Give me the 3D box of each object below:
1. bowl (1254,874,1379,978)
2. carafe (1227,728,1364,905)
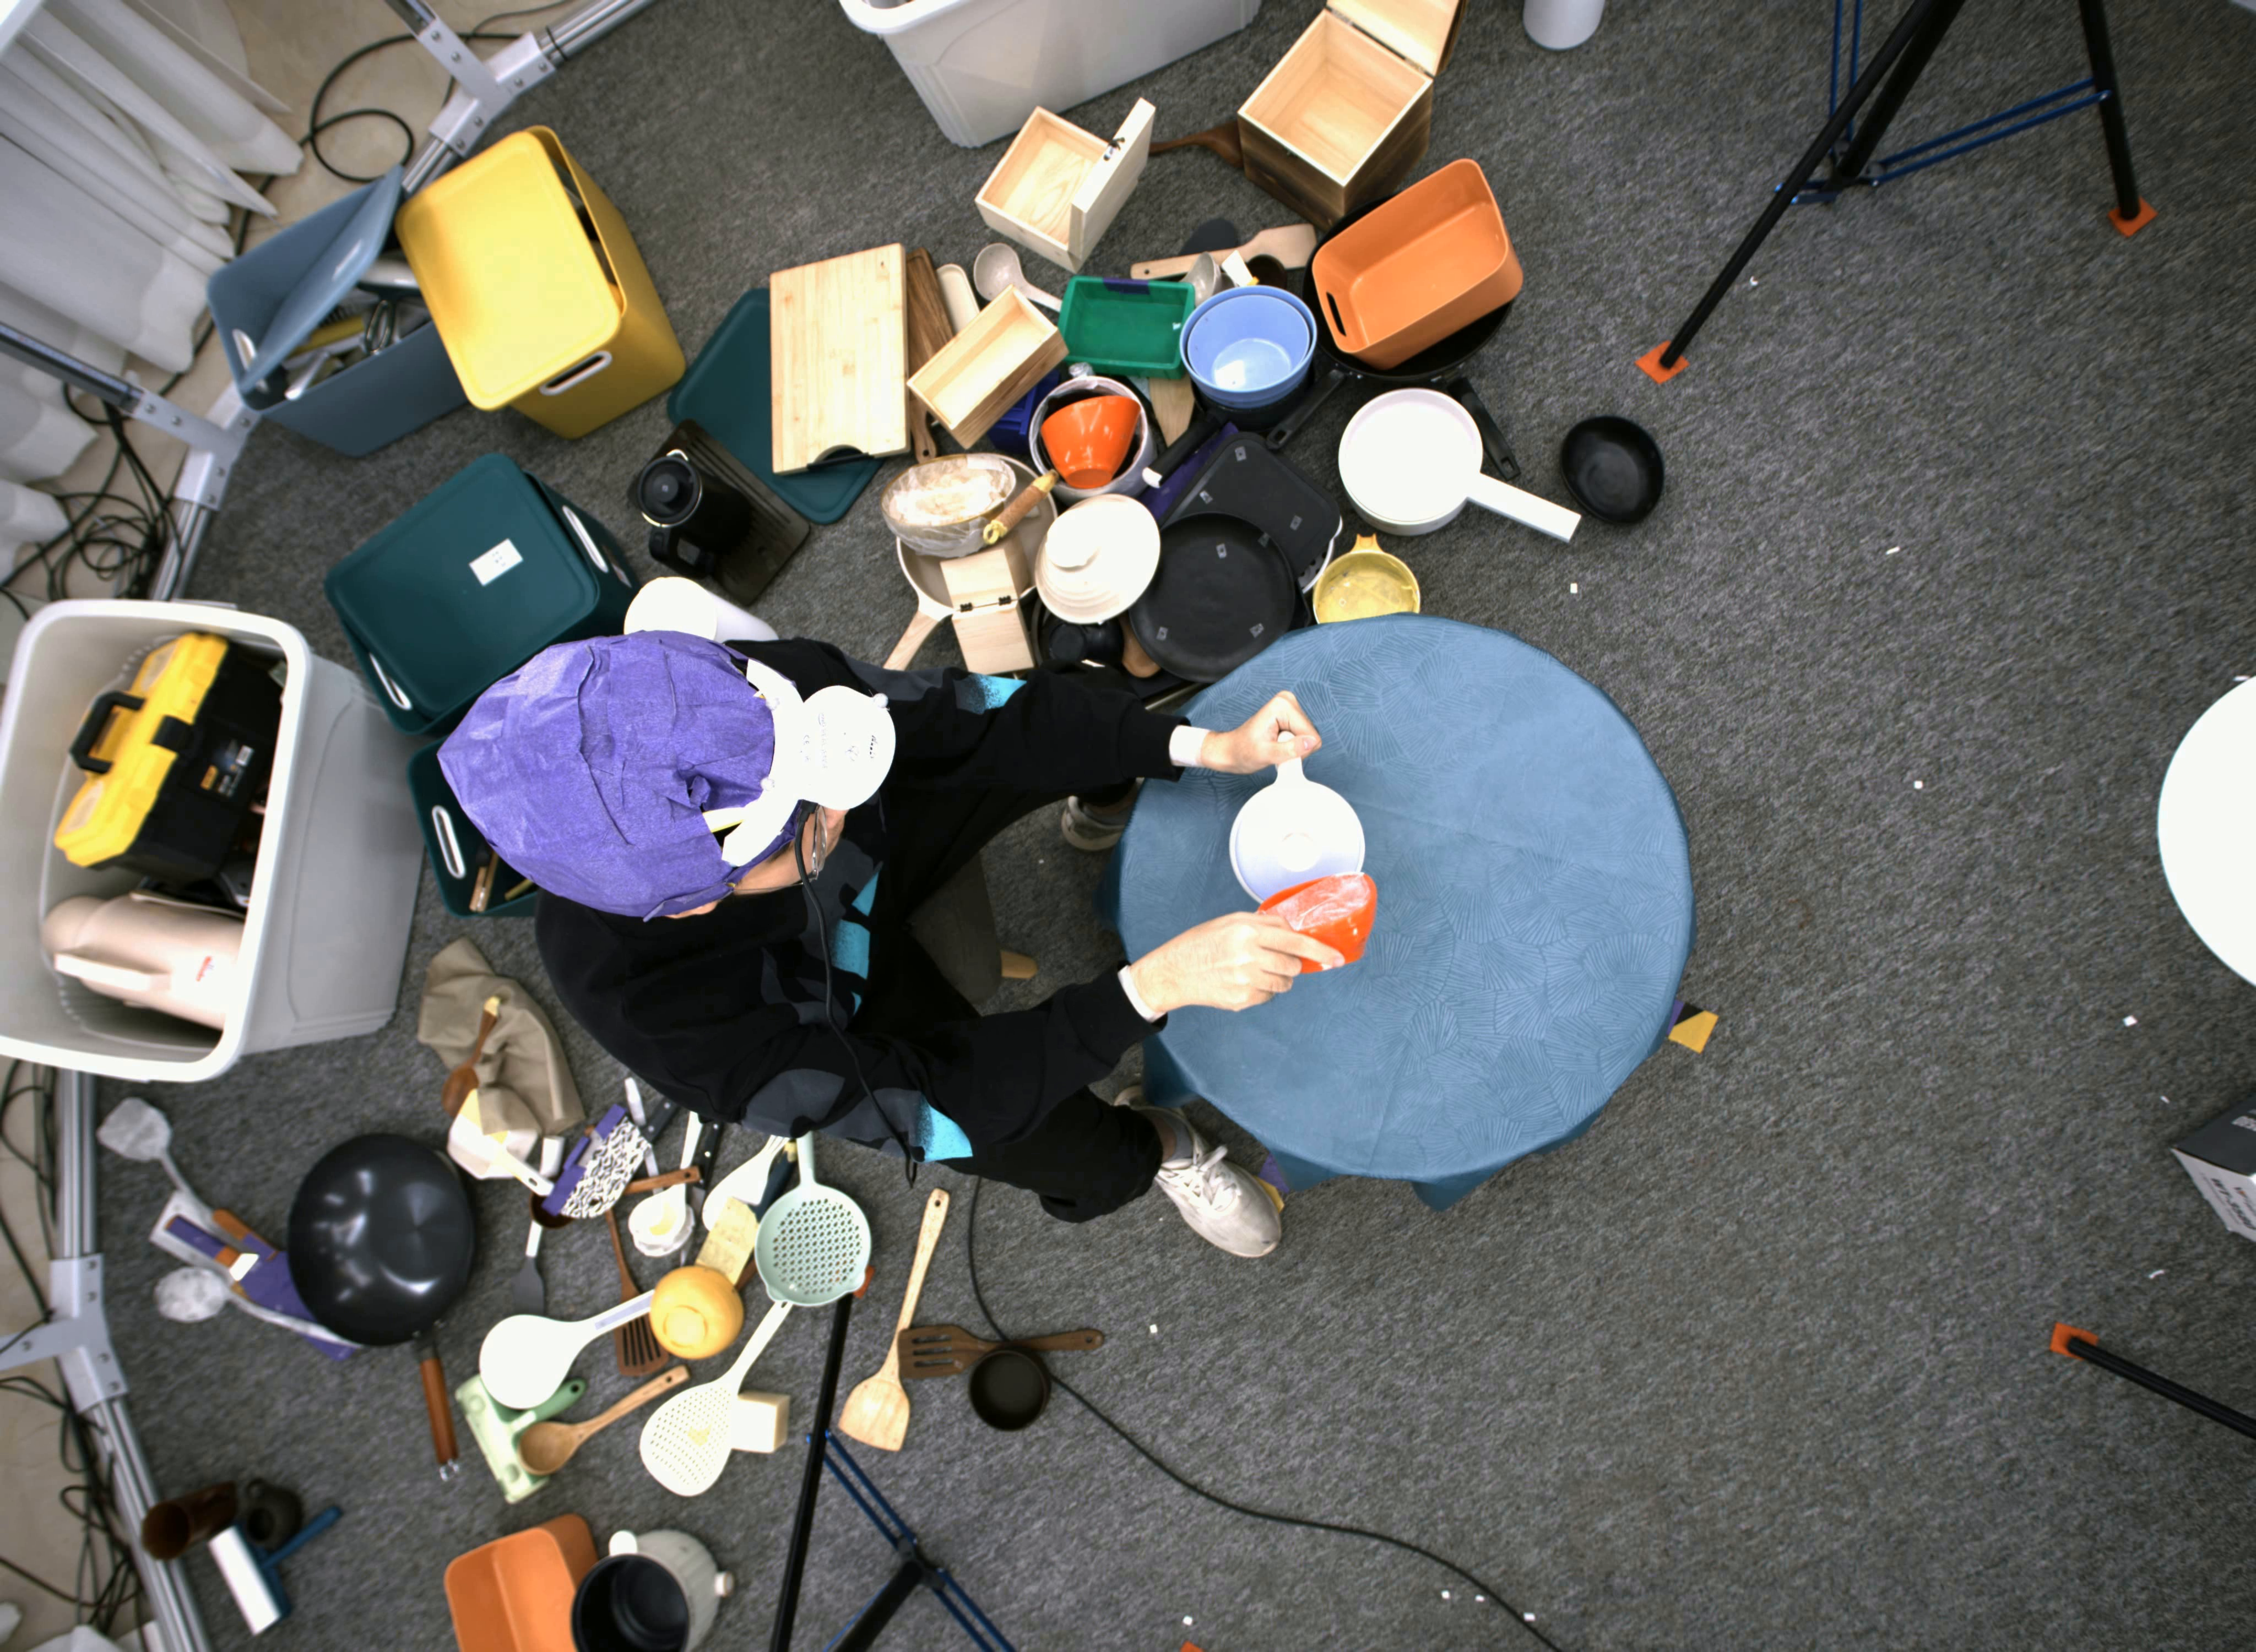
[{"bbox_3d":[0.168,0.091,1.206,0.119,0.116,0.052,-15,113,8],"label":"bowl"},{"bbox_3d":[0.163,-0.005,1.381,0.132,0.182,0.191,-7,89,5],"label":"carafe"}]
